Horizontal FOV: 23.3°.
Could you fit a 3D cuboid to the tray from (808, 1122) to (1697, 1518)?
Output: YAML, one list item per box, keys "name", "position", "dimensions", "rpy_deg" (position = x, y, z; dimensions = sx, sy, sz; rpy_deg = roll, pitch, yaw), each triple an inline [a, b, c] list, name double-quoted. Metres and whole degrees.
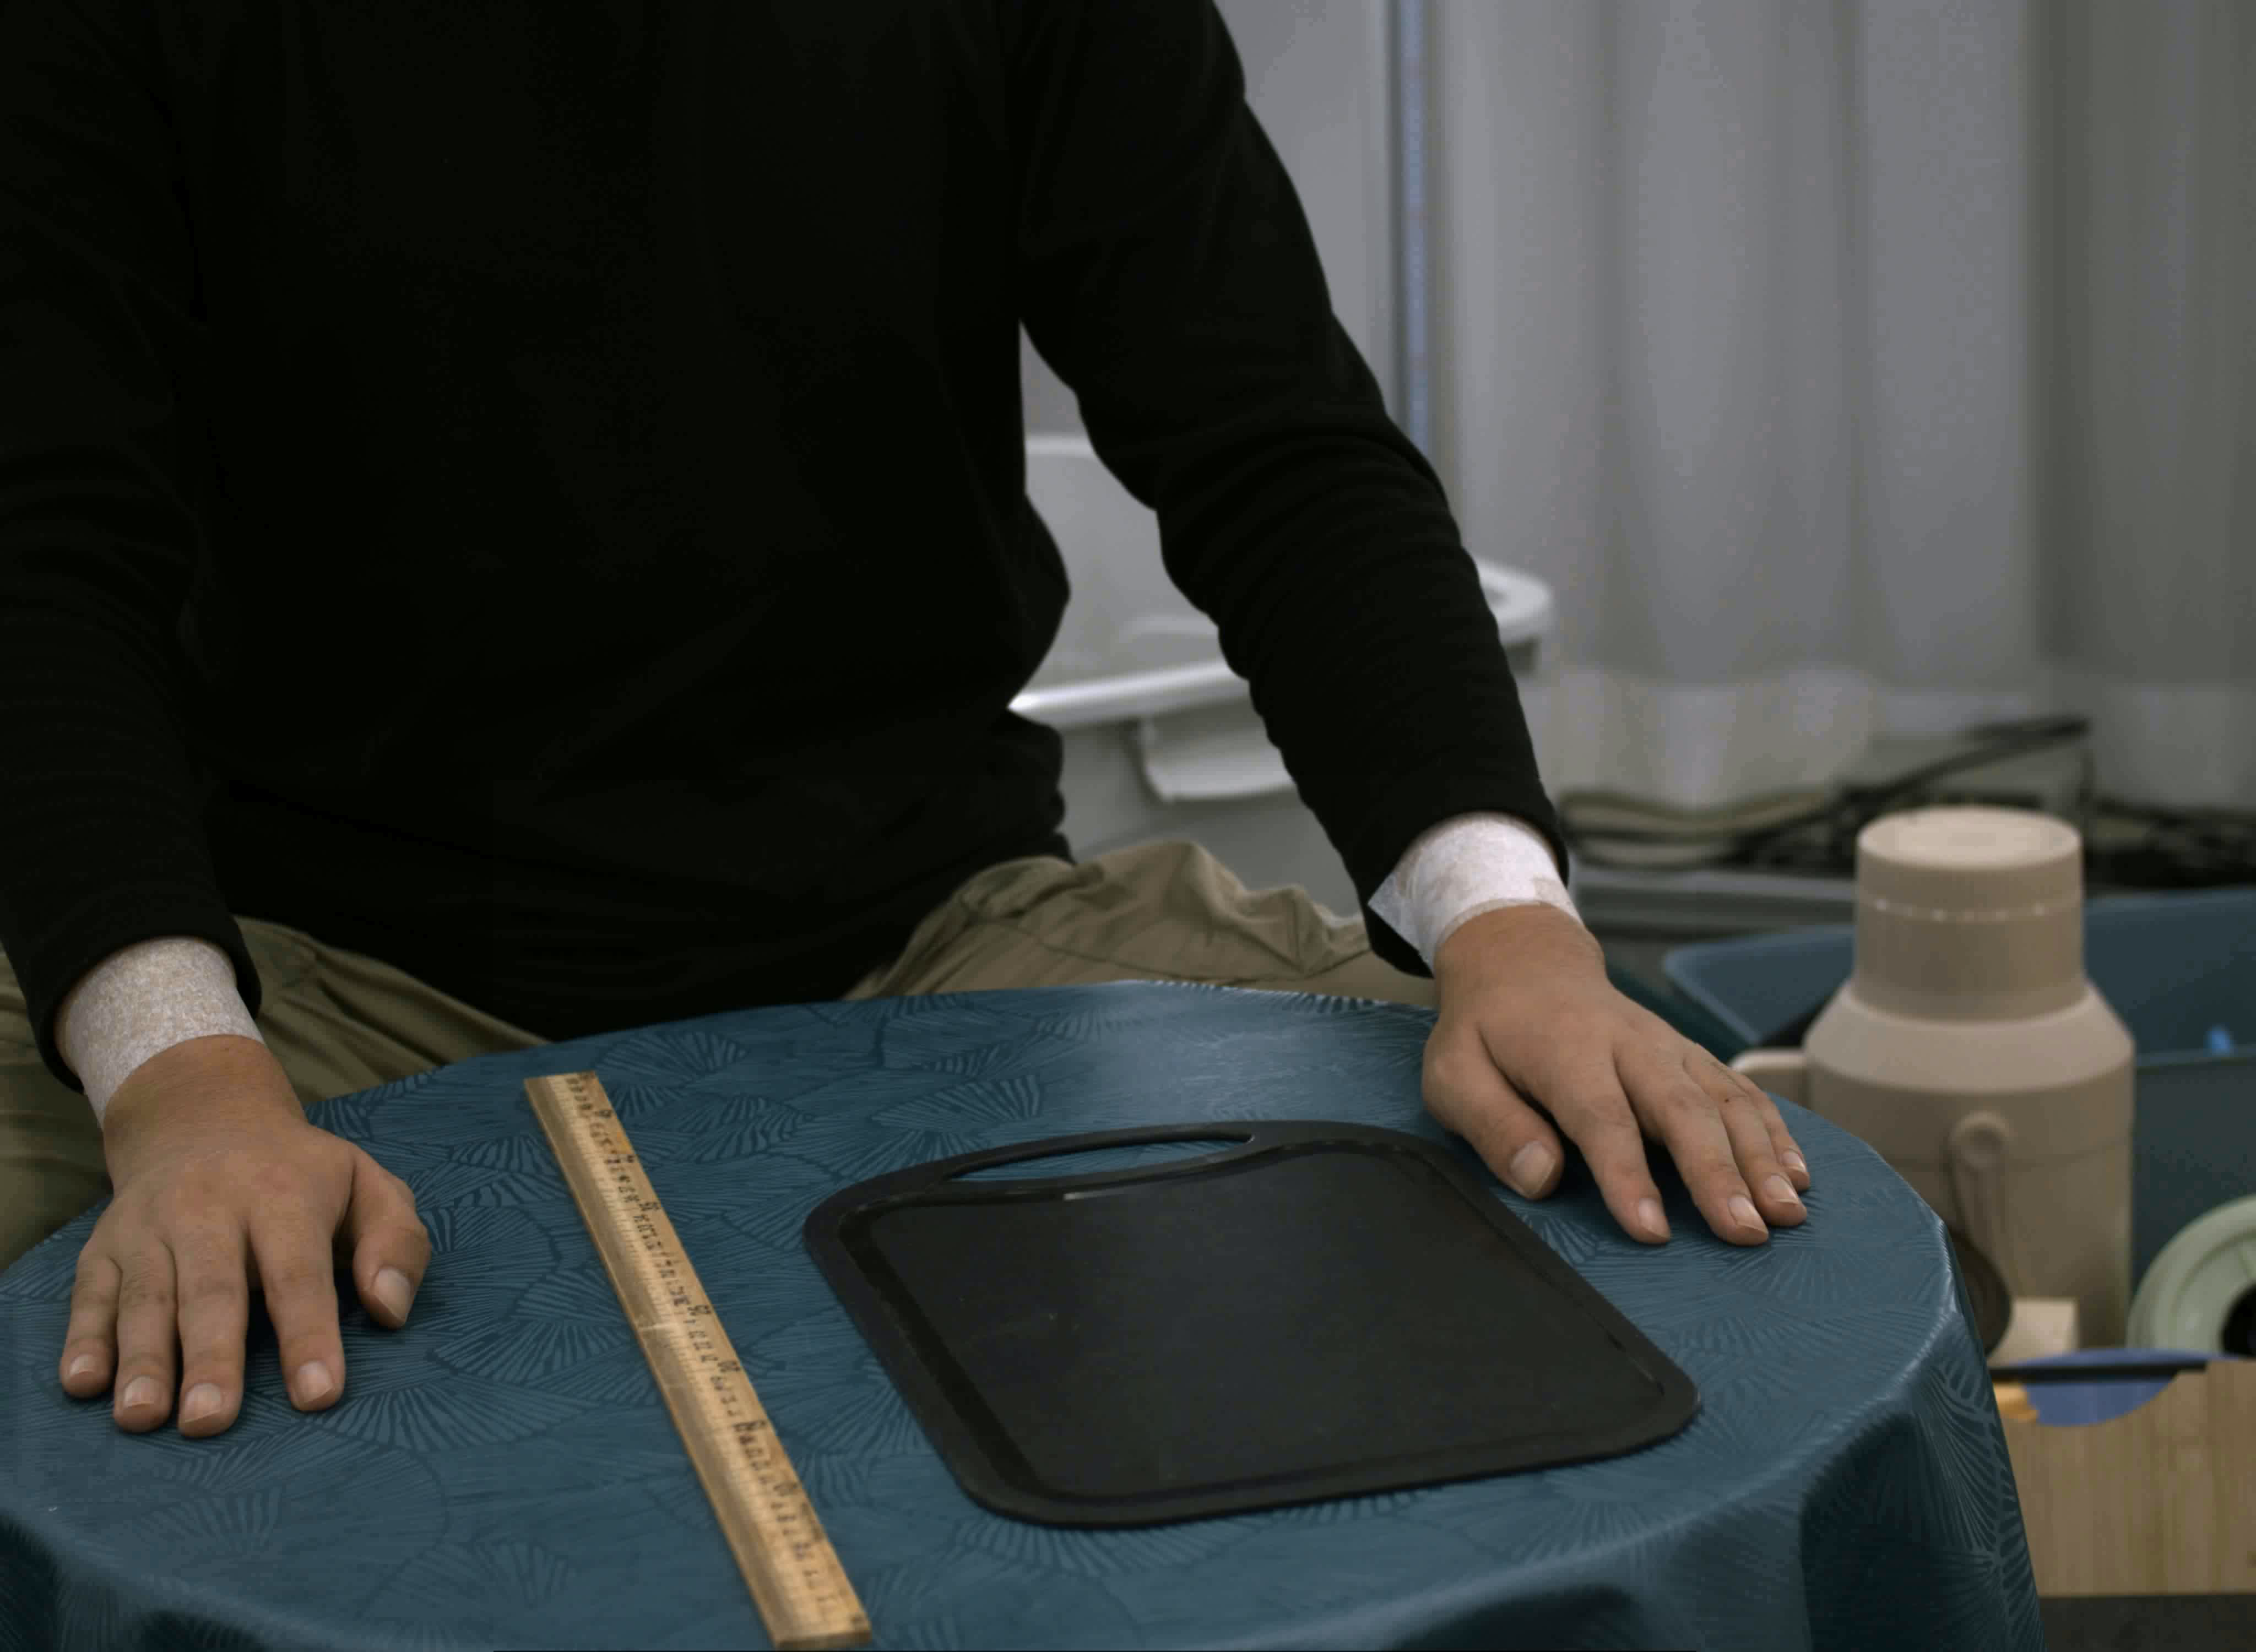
- name: "tray"
  position: [0.026, 0.137, 1.609]
  dimensions: [0.210, 0.010, 0.328]
  rpy_deg: [-6, 15, -13]

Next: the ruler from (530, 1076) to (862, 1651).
- name: "ruler"
  position: [-0.133, 0.146, 1.611]
  dimensions: [0.026, 0.006, 0.504]
  rpy_deg: [-5, 15, -12]
